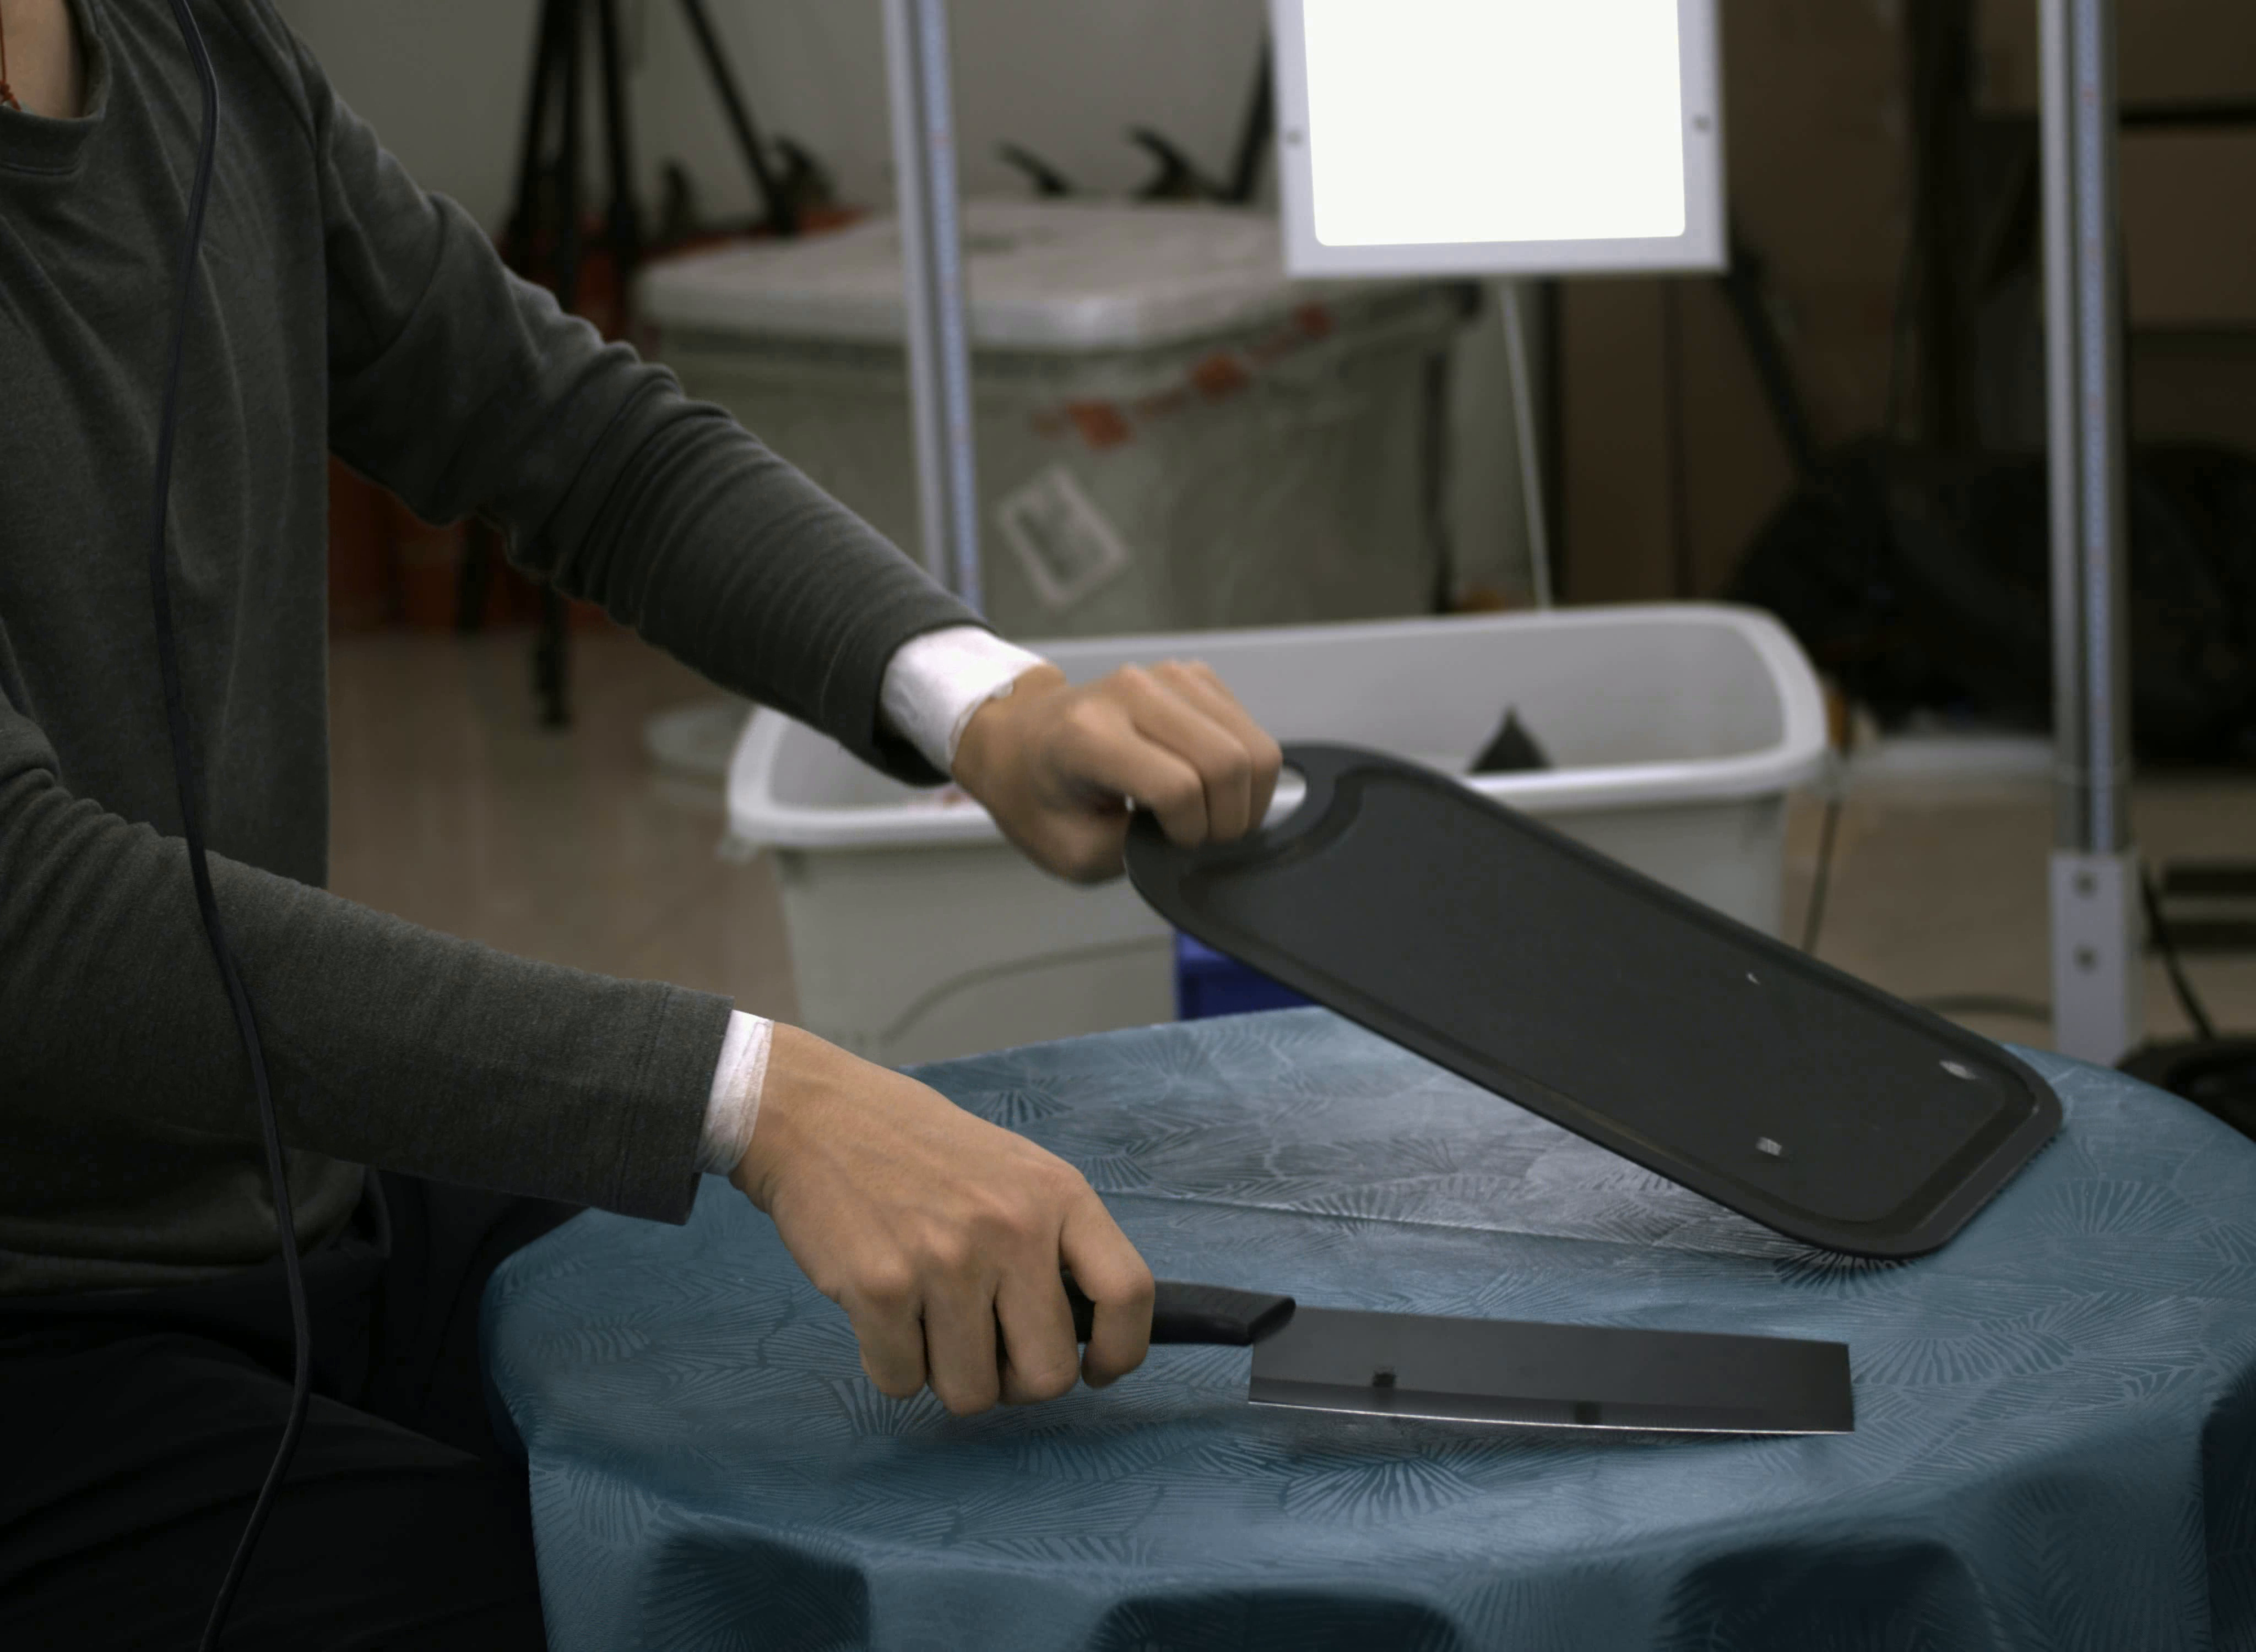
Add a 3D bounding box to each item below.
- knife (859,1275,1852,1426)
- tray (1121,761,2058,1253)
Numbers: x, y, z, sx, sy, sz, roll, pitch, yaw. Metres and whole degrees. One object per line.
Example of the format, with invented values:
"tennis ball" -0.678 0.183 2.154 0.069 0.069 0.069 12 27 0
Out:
"knife" 0.069 0.160 1.658 0.304 0.021 0.080 4 20 11
"tray" 0.155 0.053 1.875 0.329 0.010 0.206 25 25 21
